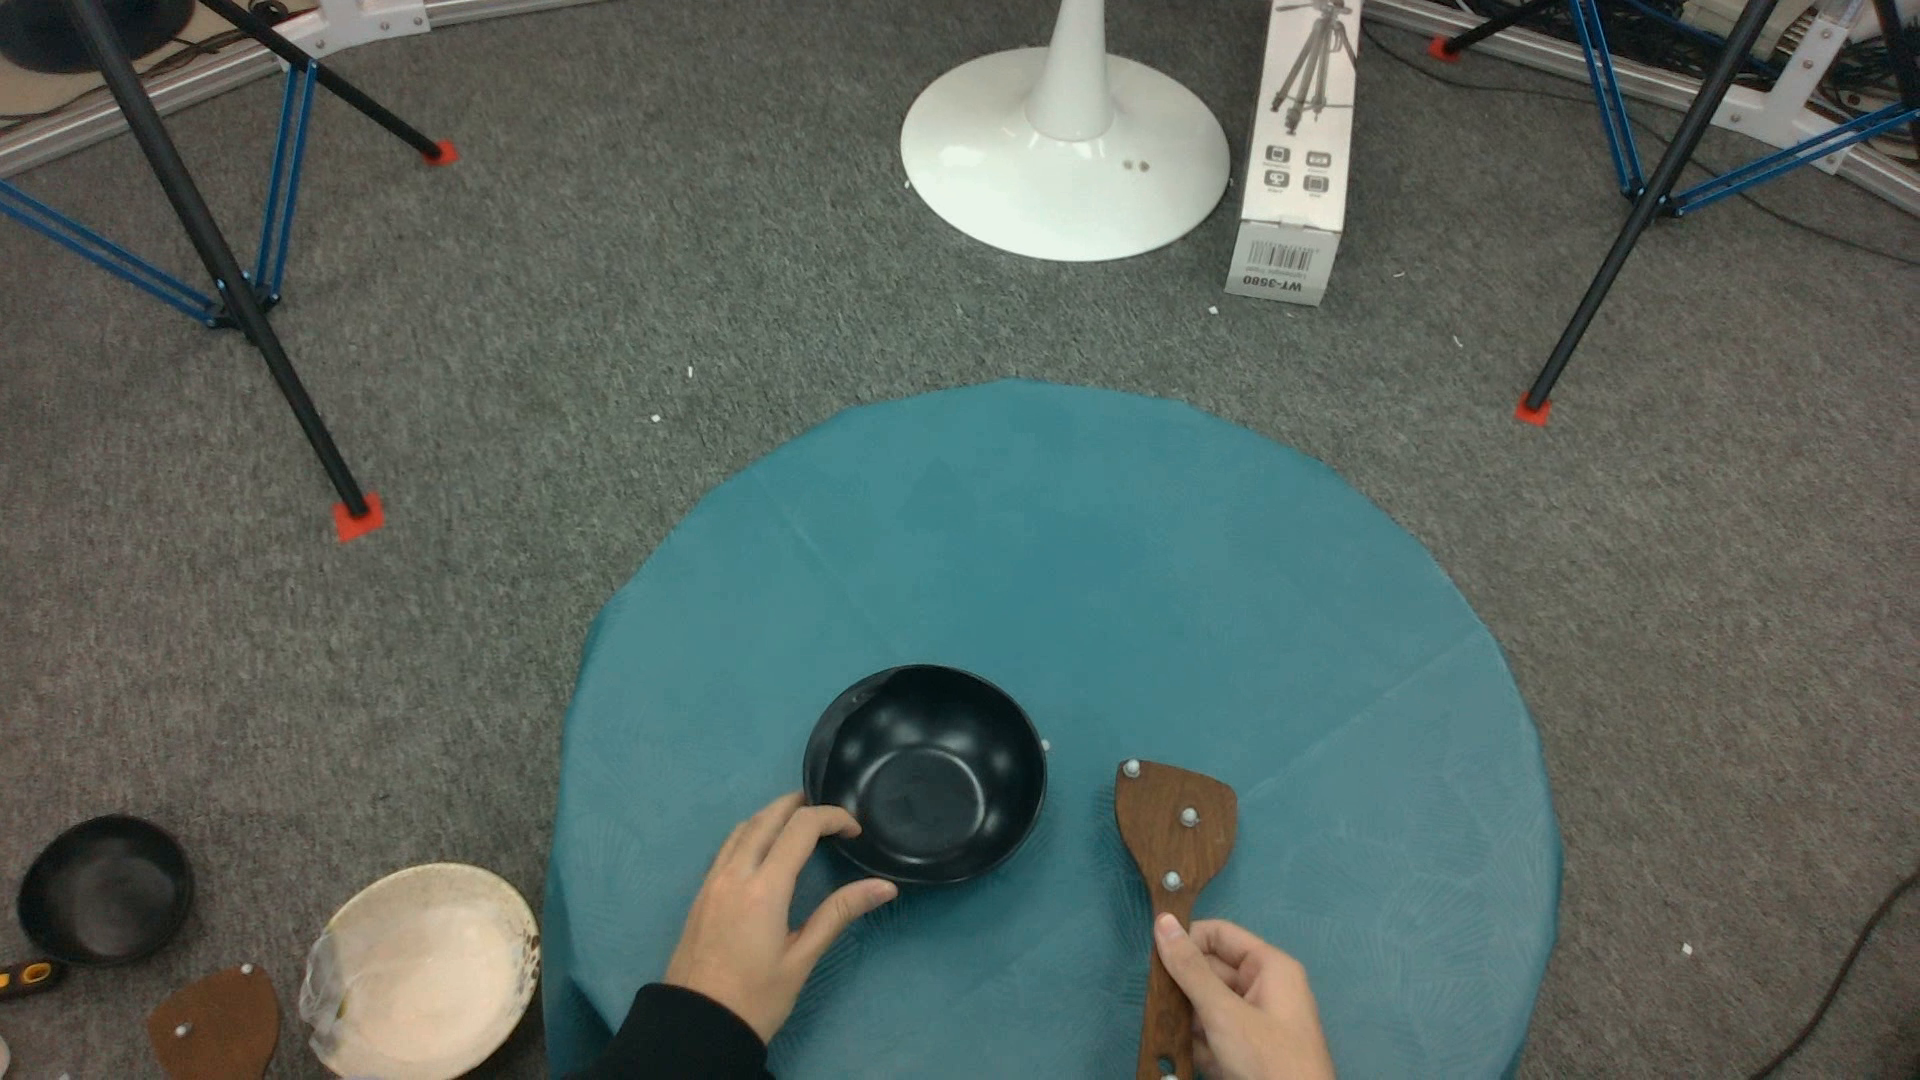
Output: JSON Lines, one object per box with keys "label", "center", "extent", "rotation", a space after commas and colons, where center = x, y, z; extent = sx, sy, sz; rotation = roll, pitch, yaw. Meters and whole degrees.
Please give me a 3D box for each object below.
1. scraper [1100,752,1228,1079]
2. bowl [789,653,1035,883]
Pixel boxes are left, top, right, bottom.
{"label": "scraper", "center": [0.105, 0.199, 0.731], "extent": [0.076, 0.011, 0.212], "rotation": [16, 39, -2]}
{"label": "bowl", "center": [-0.029, 0.136, 0.791], "extent": [0.140, 0.049, 0.140], "rotation": [4, 54, -5]}
